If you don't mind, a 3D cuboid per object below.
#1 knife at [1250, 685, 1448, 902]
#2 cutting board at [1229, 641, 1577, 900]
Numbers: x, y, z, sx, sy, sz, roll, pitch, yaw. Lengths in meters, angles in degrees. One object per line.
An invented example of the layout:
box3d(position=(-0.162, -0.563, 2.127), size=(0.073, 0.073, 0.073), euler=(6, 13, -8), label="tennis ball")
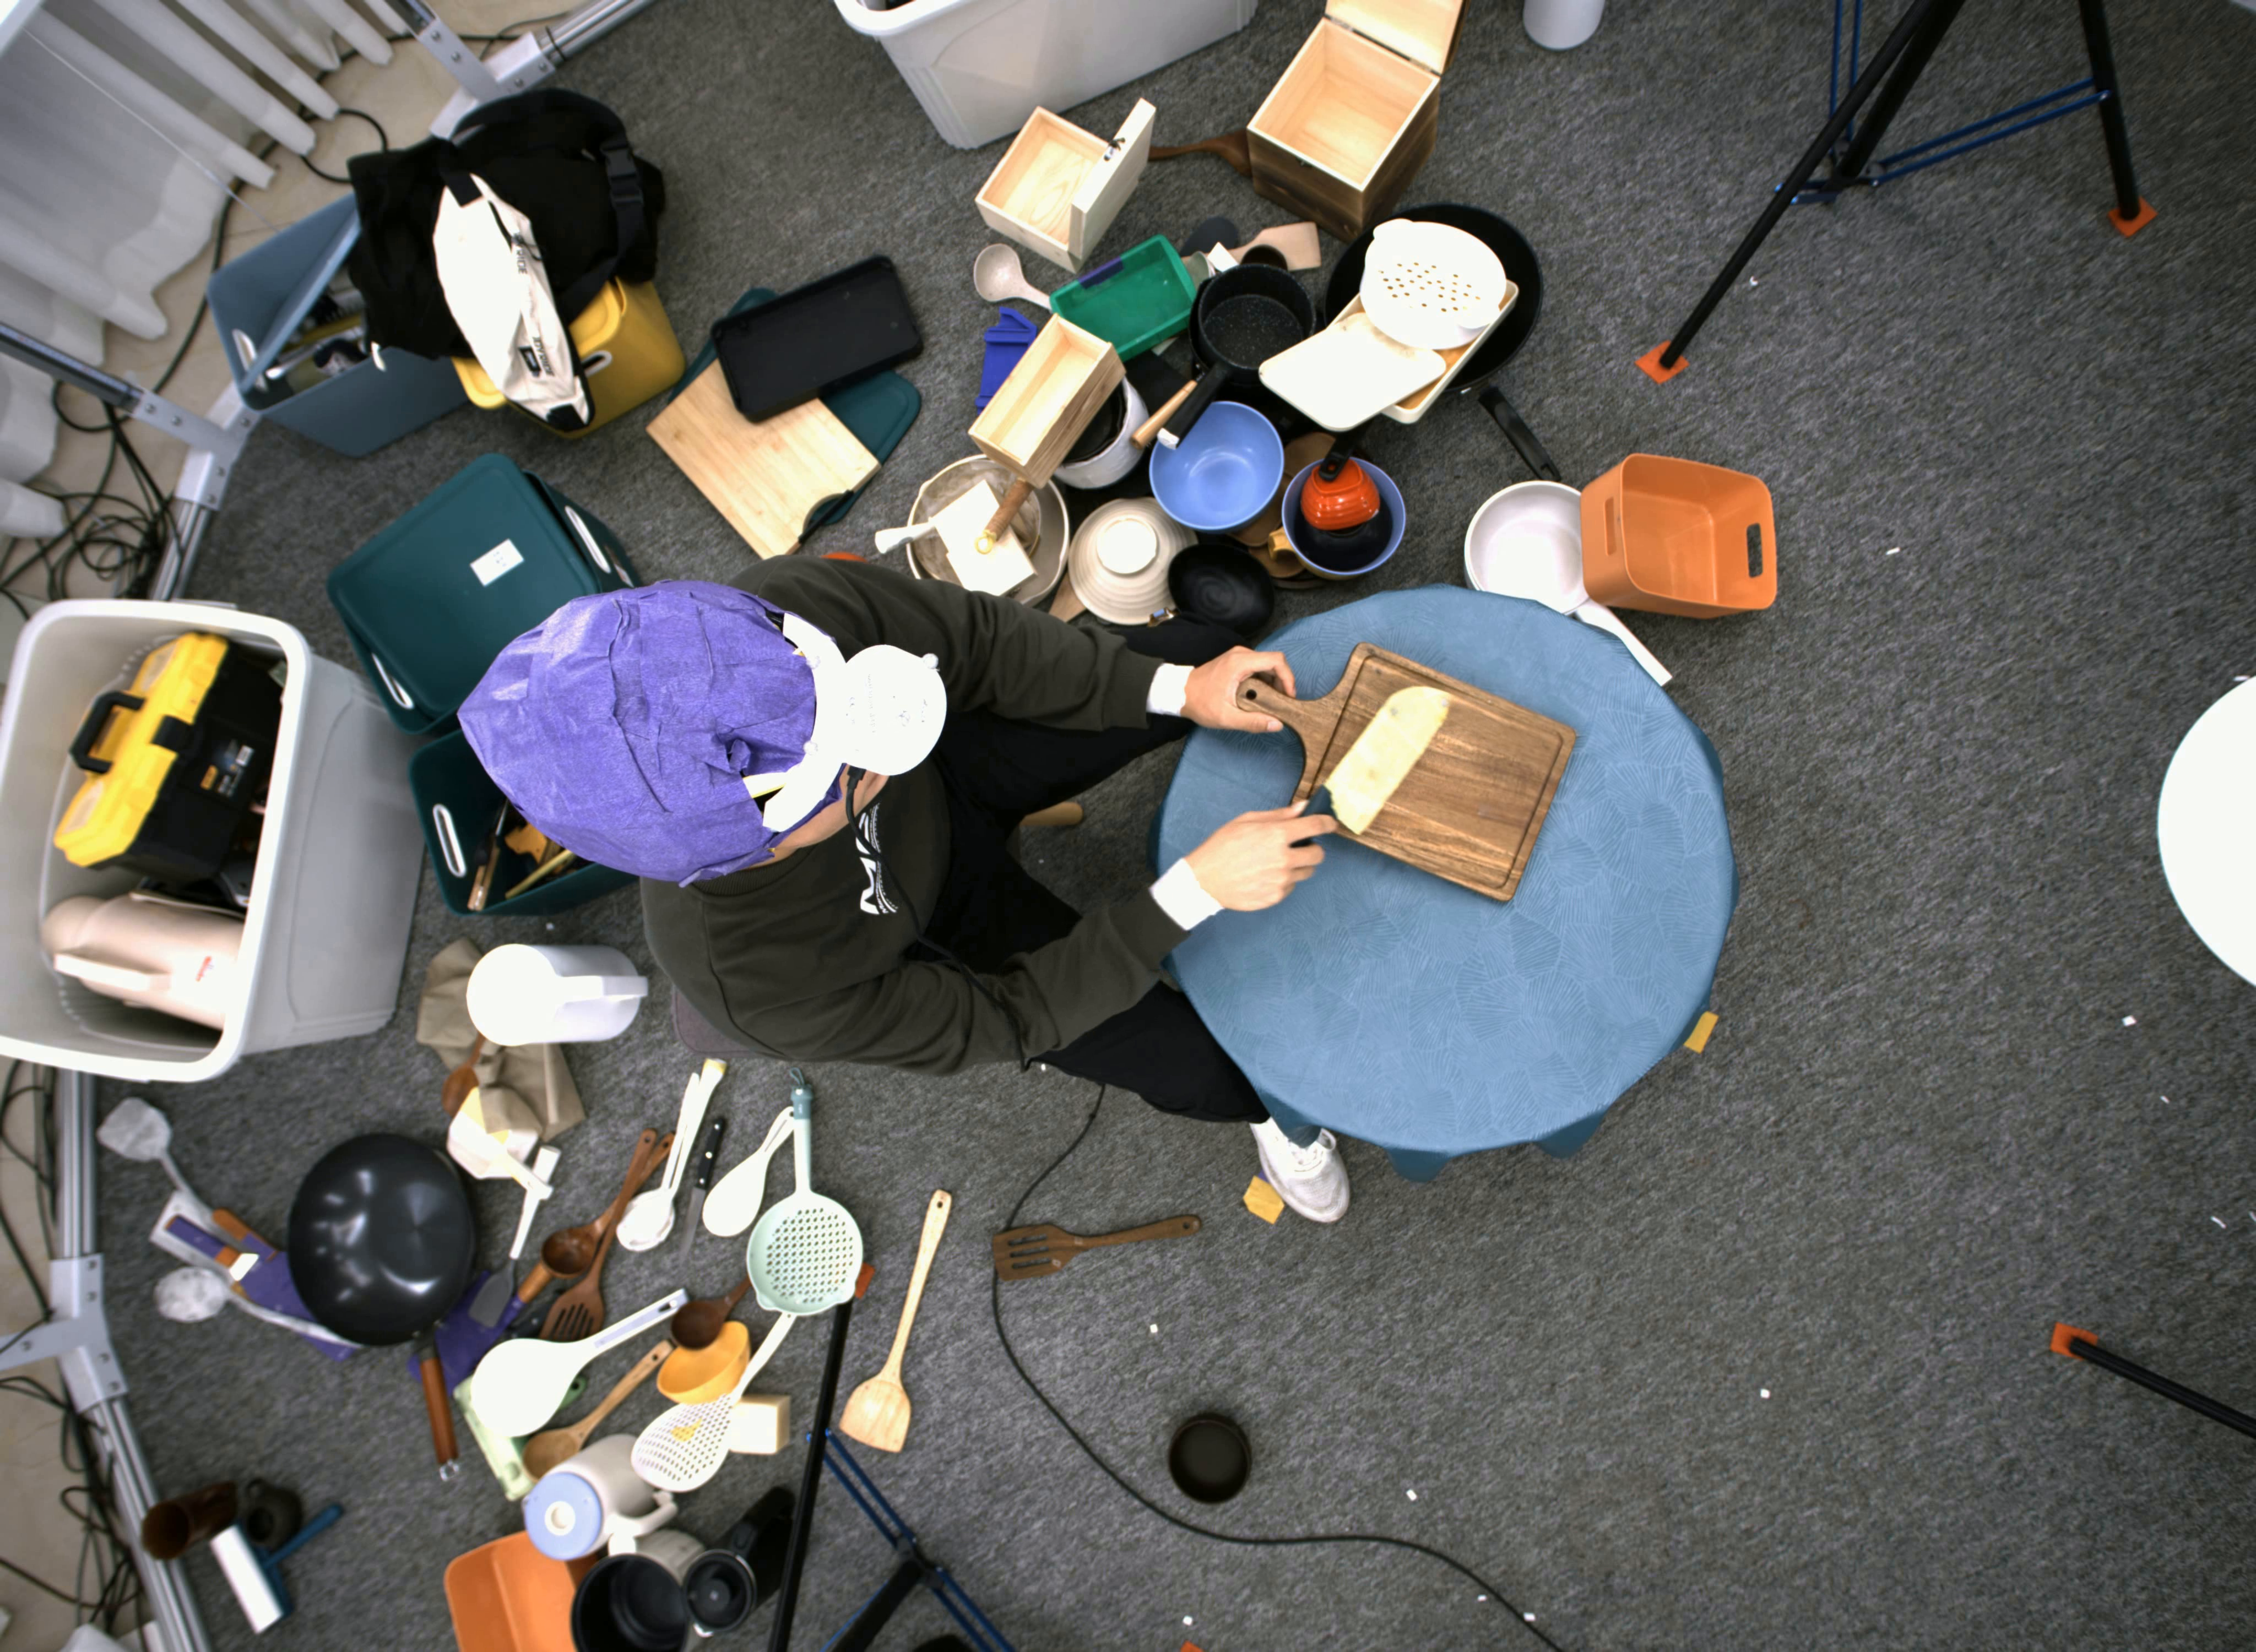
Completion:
box3d(position=(0.226, -0.031, 1.381), size=(0.289, 0.027, 0.082), euler=(-49, 118, 0), label="knife")
box3d(position=(0.271, -0.077, 1.424), size=(0.352, 0.023, 0.201), euler=(22, 91, 0), label="cutting board")
